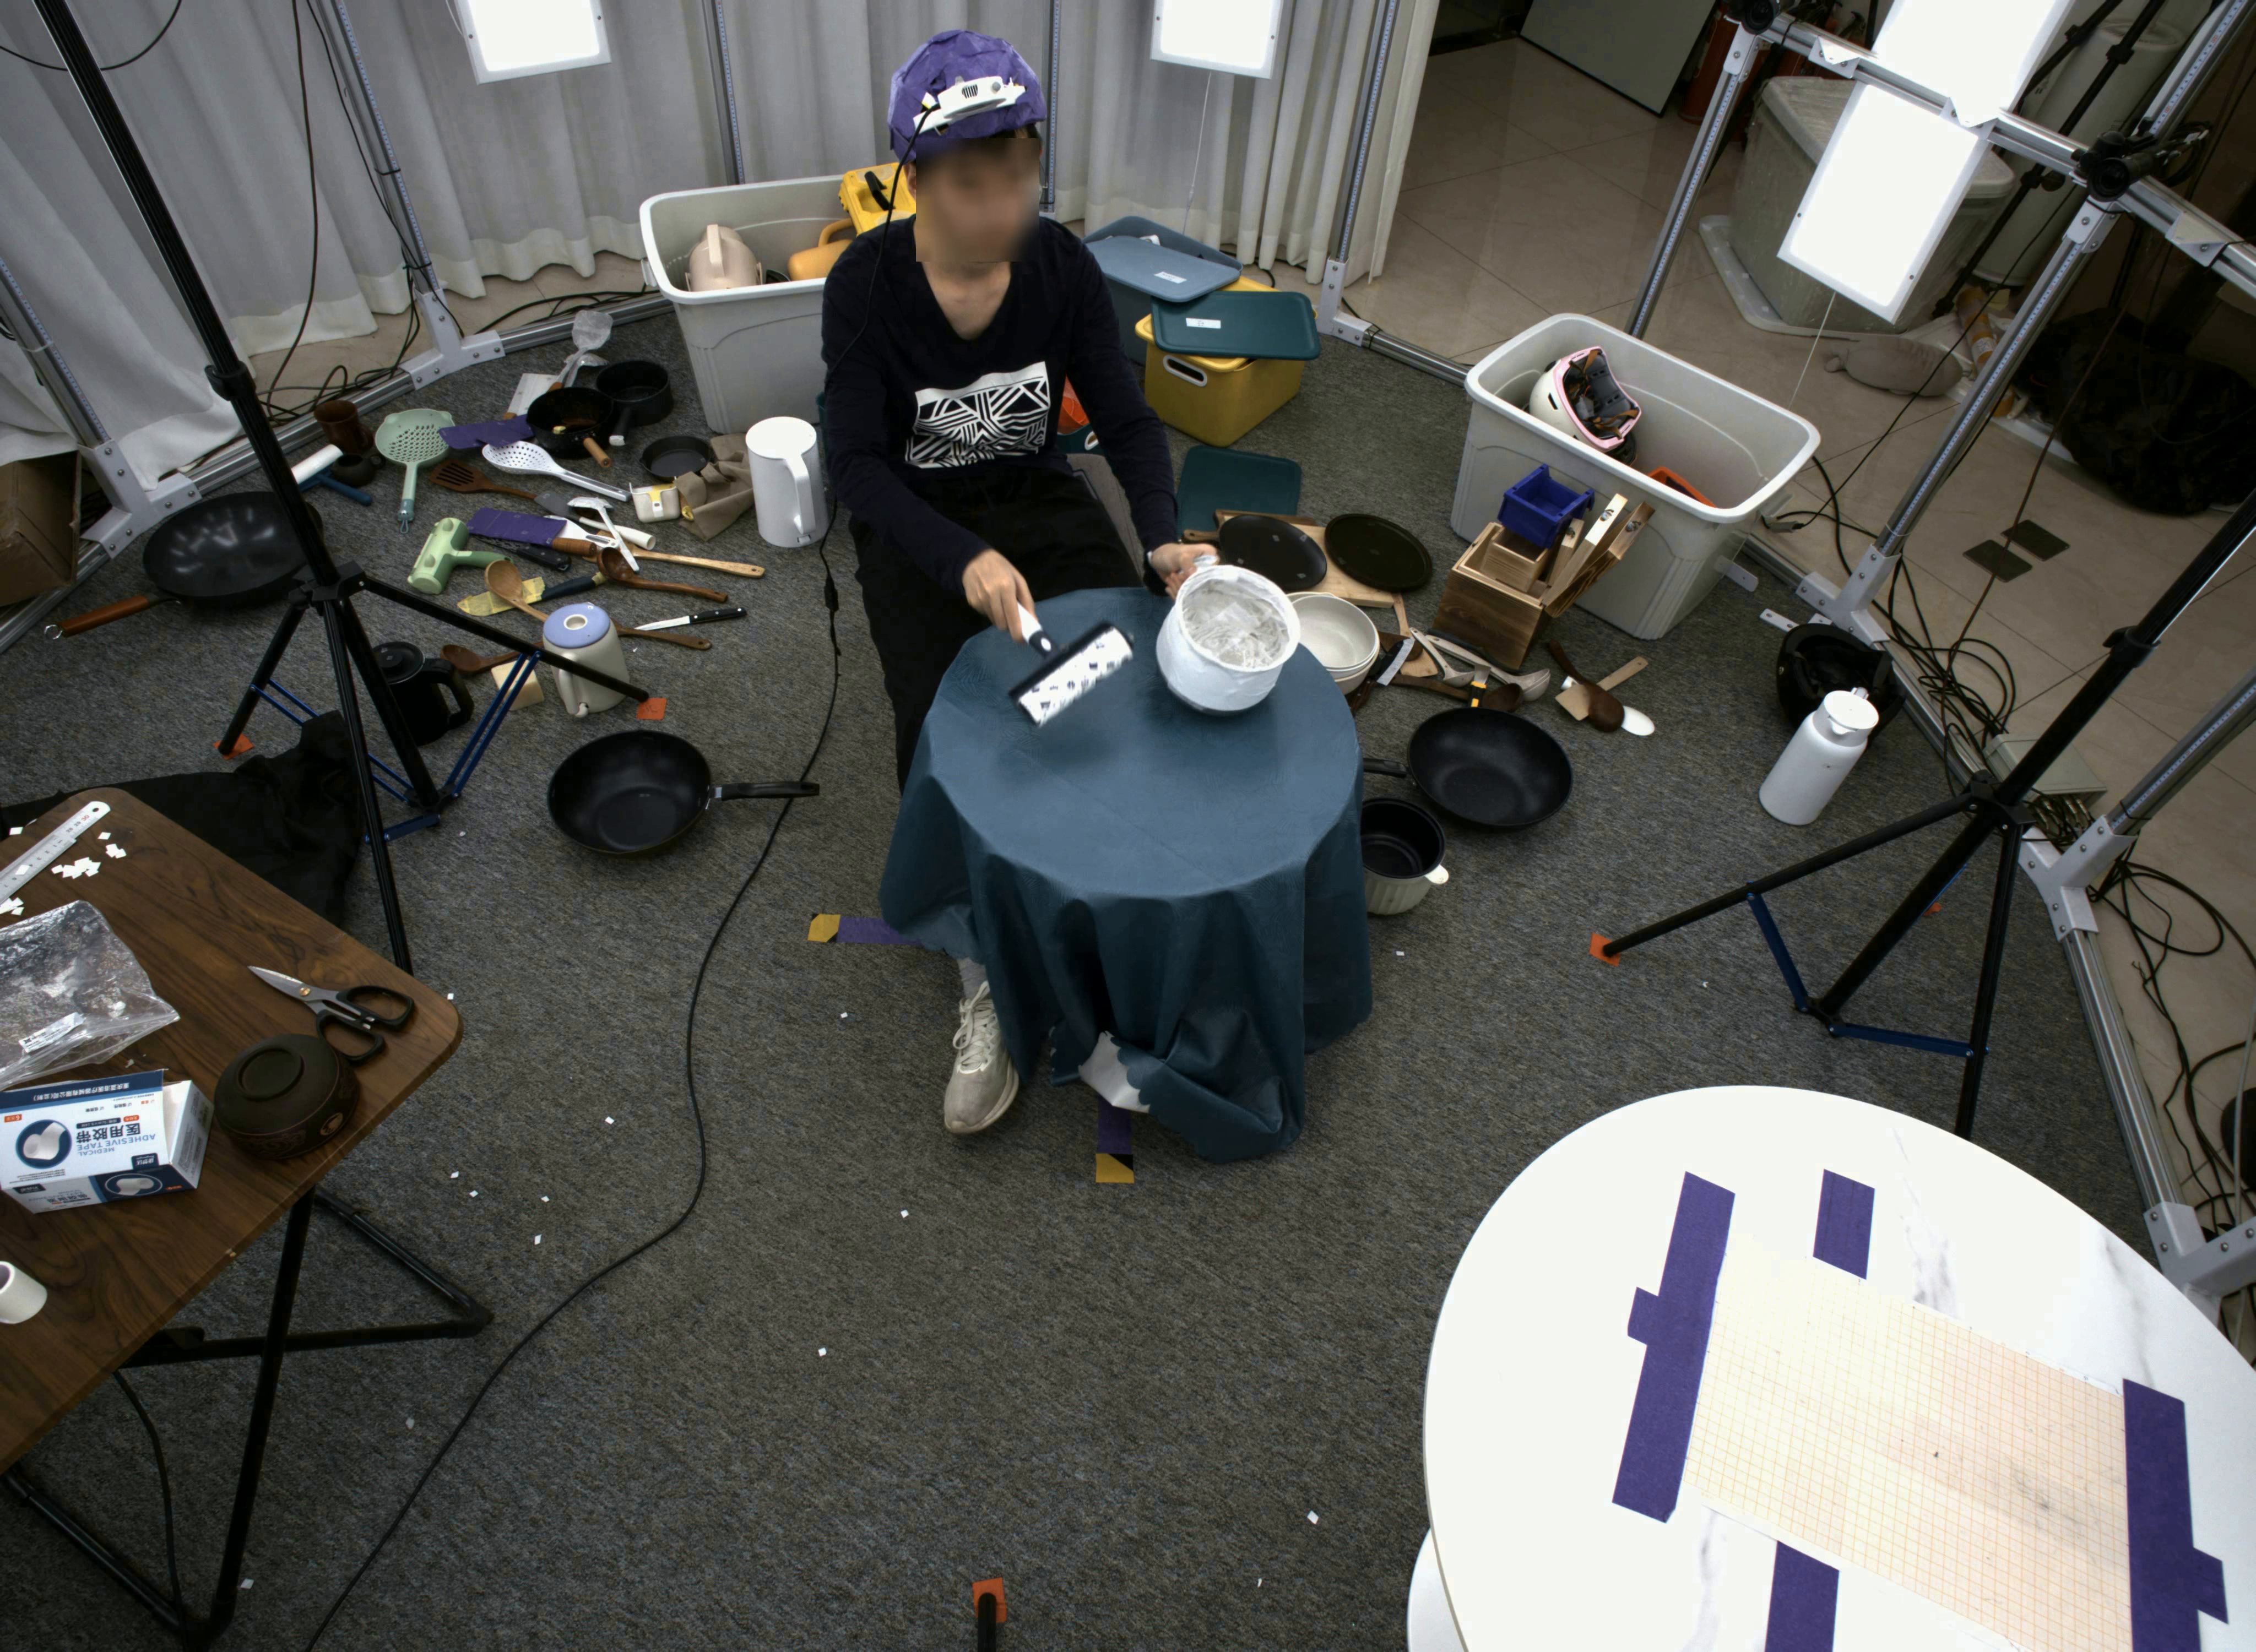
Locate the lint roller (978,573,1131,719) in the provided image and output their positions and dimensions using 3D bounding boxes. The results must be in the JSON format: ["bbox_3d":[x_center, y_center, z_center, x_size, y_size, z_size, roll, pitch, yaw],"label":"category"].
[{"bbox_3d":[-0.135,-0.274,1.761,0.177,0.049,0.251,-40,62,-7],"label":"lint roller"}]

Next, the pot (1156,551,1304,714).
[{"bbox_3d":[0.127,-0.280,1.791,0.178,0.134,0.238,-10,67,-25],"label":"pot"}]
